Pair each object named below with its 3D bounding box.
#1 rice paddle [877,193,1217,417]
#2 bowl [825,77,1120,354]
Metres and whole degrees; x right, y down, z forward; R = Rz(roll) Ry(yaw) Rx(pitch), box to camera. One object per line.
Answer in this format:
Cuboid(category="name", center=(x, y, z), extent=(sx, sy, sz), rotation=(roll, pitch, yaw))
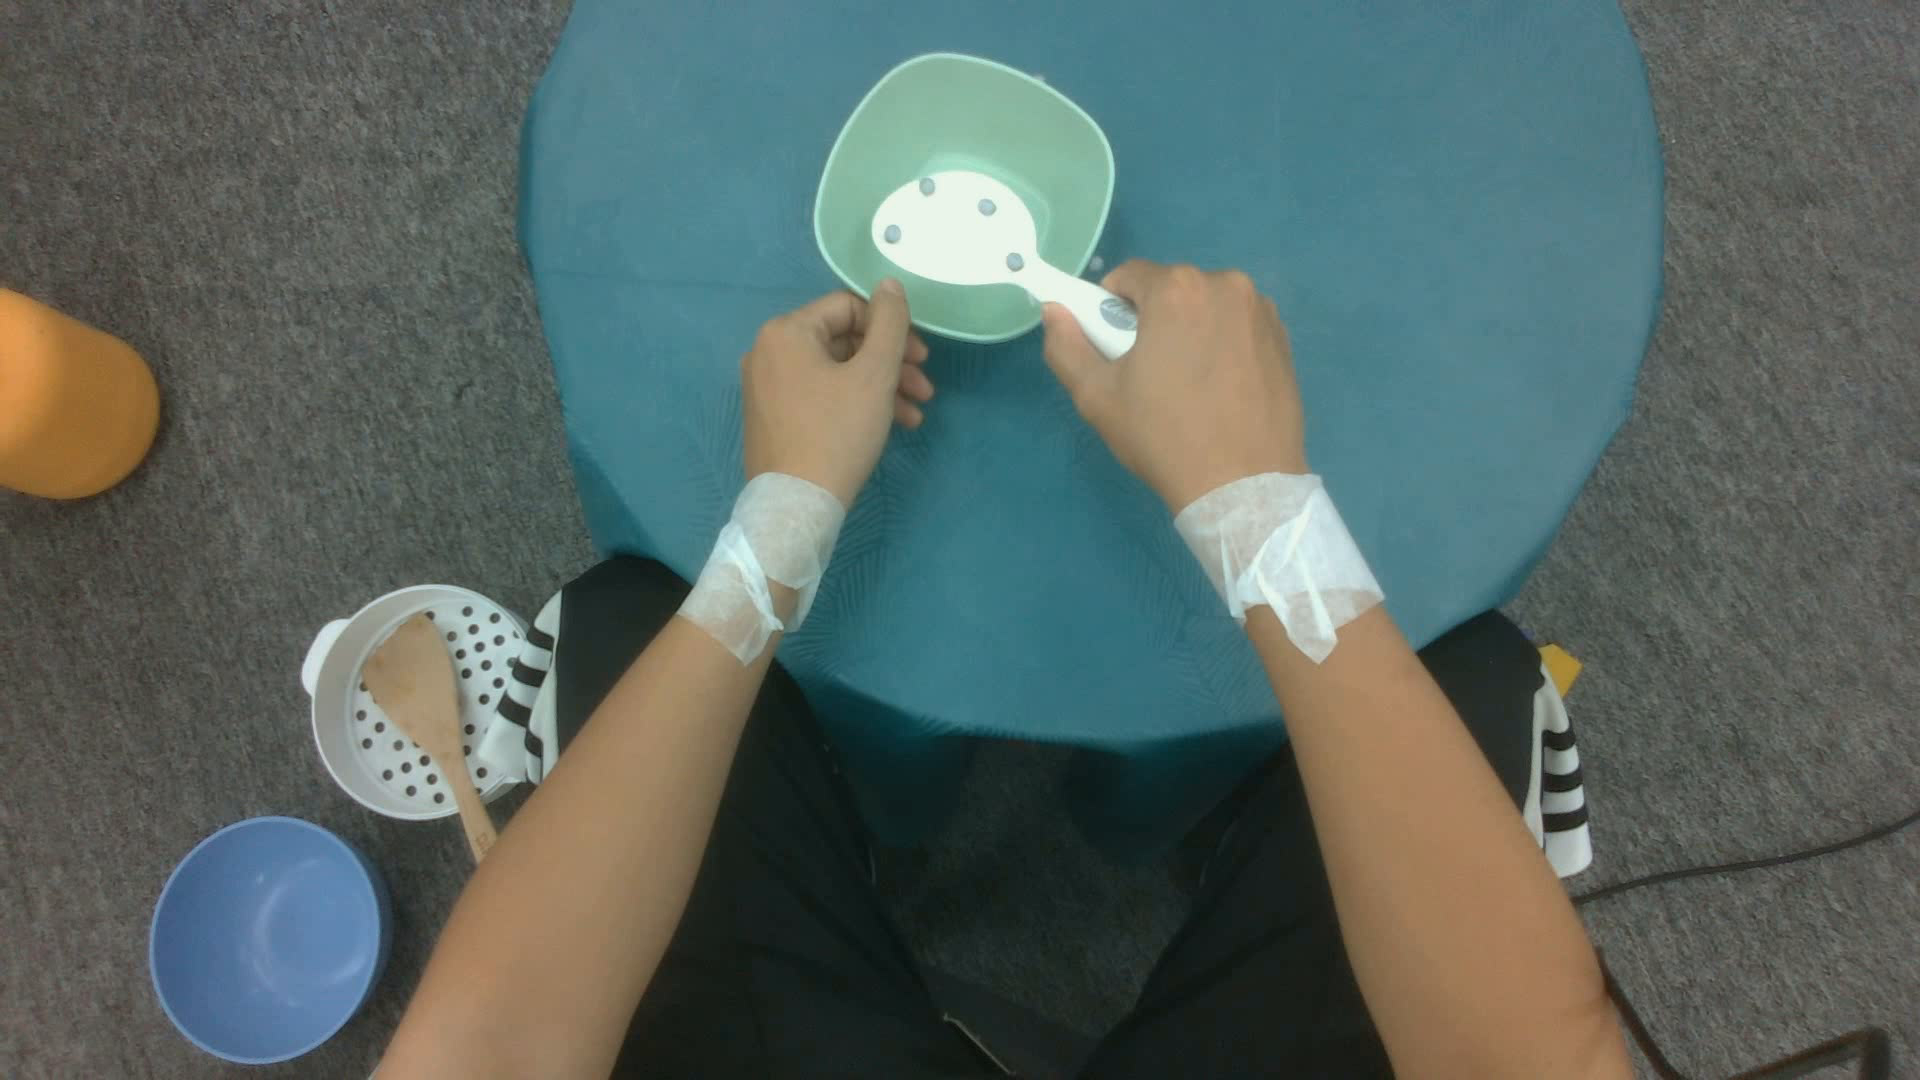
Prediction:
Cuboid(category="rice paddle", center=(0.034, -0.118, 0.649), extent=(0.069, 0.029, 0.205), rotation=(-40, 54, -17))
Cuboid(category="bowl", center=(0.007, -0.159, 0.716), extent=(0.151, 0.058, 0.152), rotation=(0, 78, 1))
